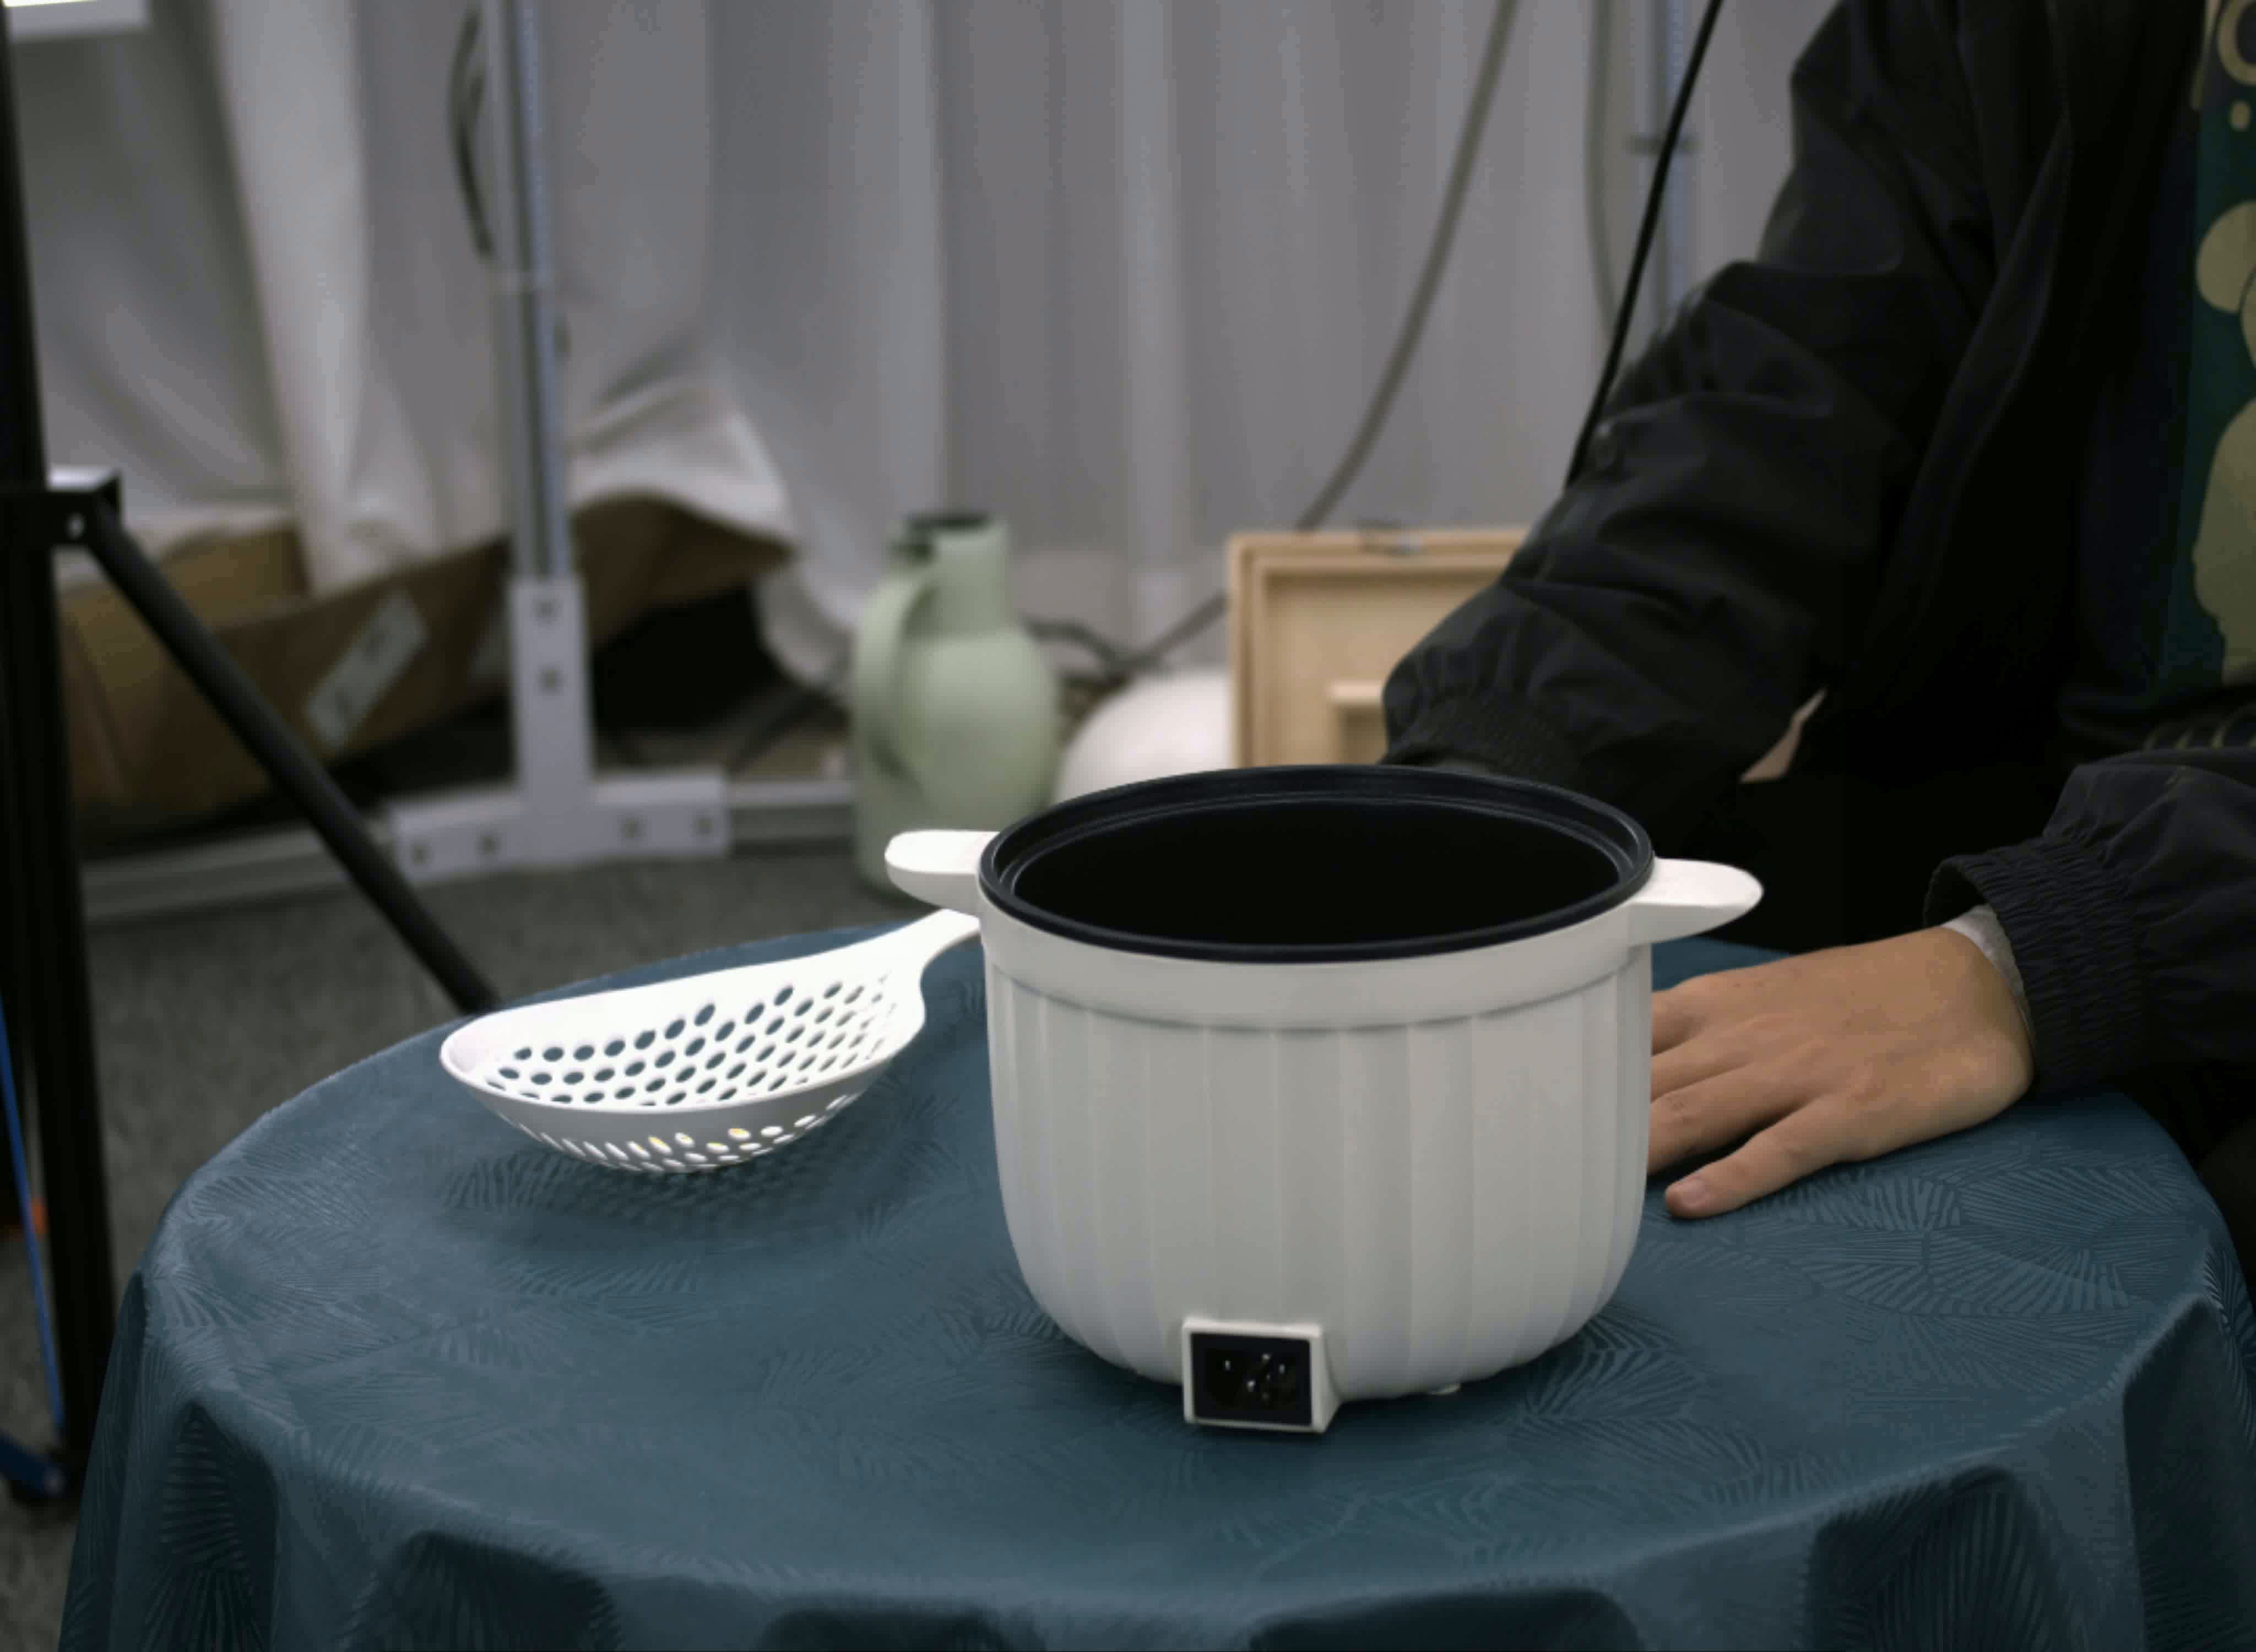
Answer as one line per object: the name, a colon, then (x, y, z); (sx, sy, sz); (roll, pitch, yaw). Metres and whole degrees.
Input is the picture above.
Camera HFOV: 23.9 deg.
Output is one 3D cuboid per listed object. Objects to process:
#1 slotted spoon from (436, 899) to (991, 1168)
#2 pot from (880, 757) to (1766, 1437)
slotted spoon: (-0.083, 0.052, 1.691); (0.139, 0.050, 0.342); (5, 17, 29)
pot: (0.052, 0.069, 1.436); (0.242, 0.142, 0.189); (3, 19, 15)
